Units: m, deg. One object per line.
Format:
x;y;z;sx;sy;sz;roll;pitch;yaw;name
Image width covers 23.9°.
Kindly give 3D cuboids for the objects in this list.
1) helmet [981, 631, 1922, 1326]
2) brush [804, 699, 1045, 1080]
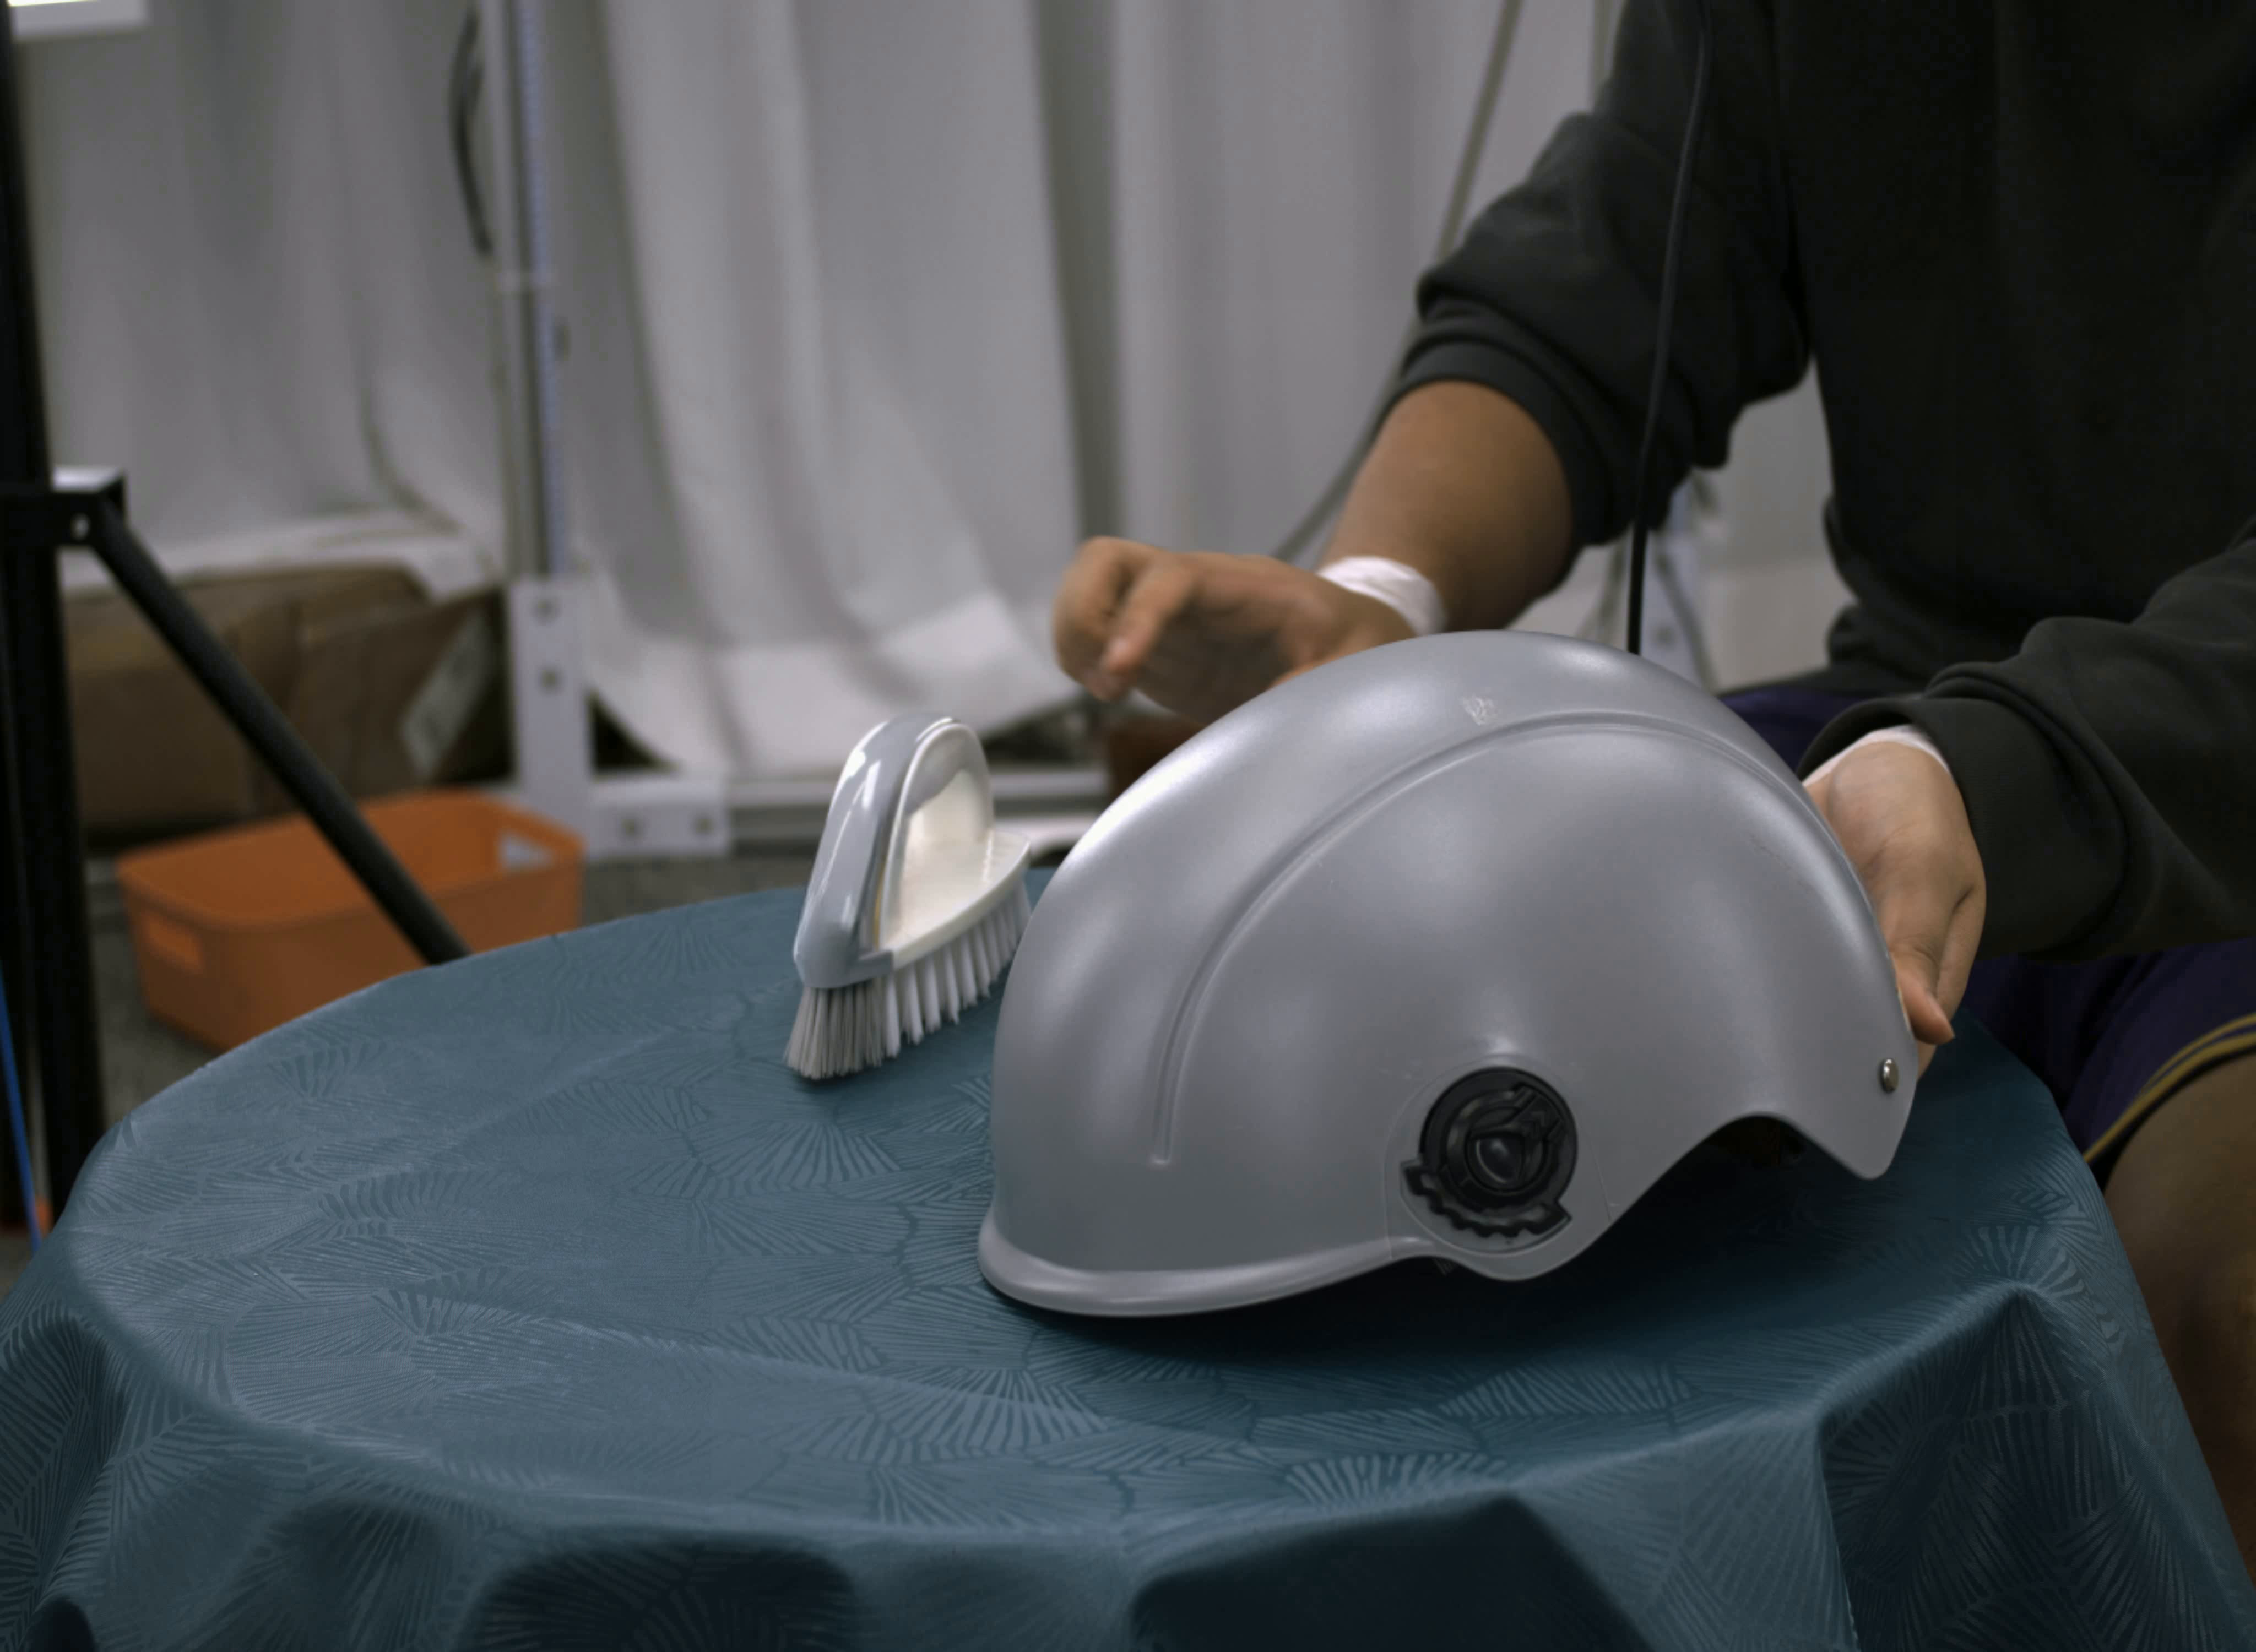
0.084;0.033;1.506;0.271;0.169;0.236;-10;10;-19;helmet
-0.075;0.015;1.735;0.062;0.094;0.174;0;18;15;brush
